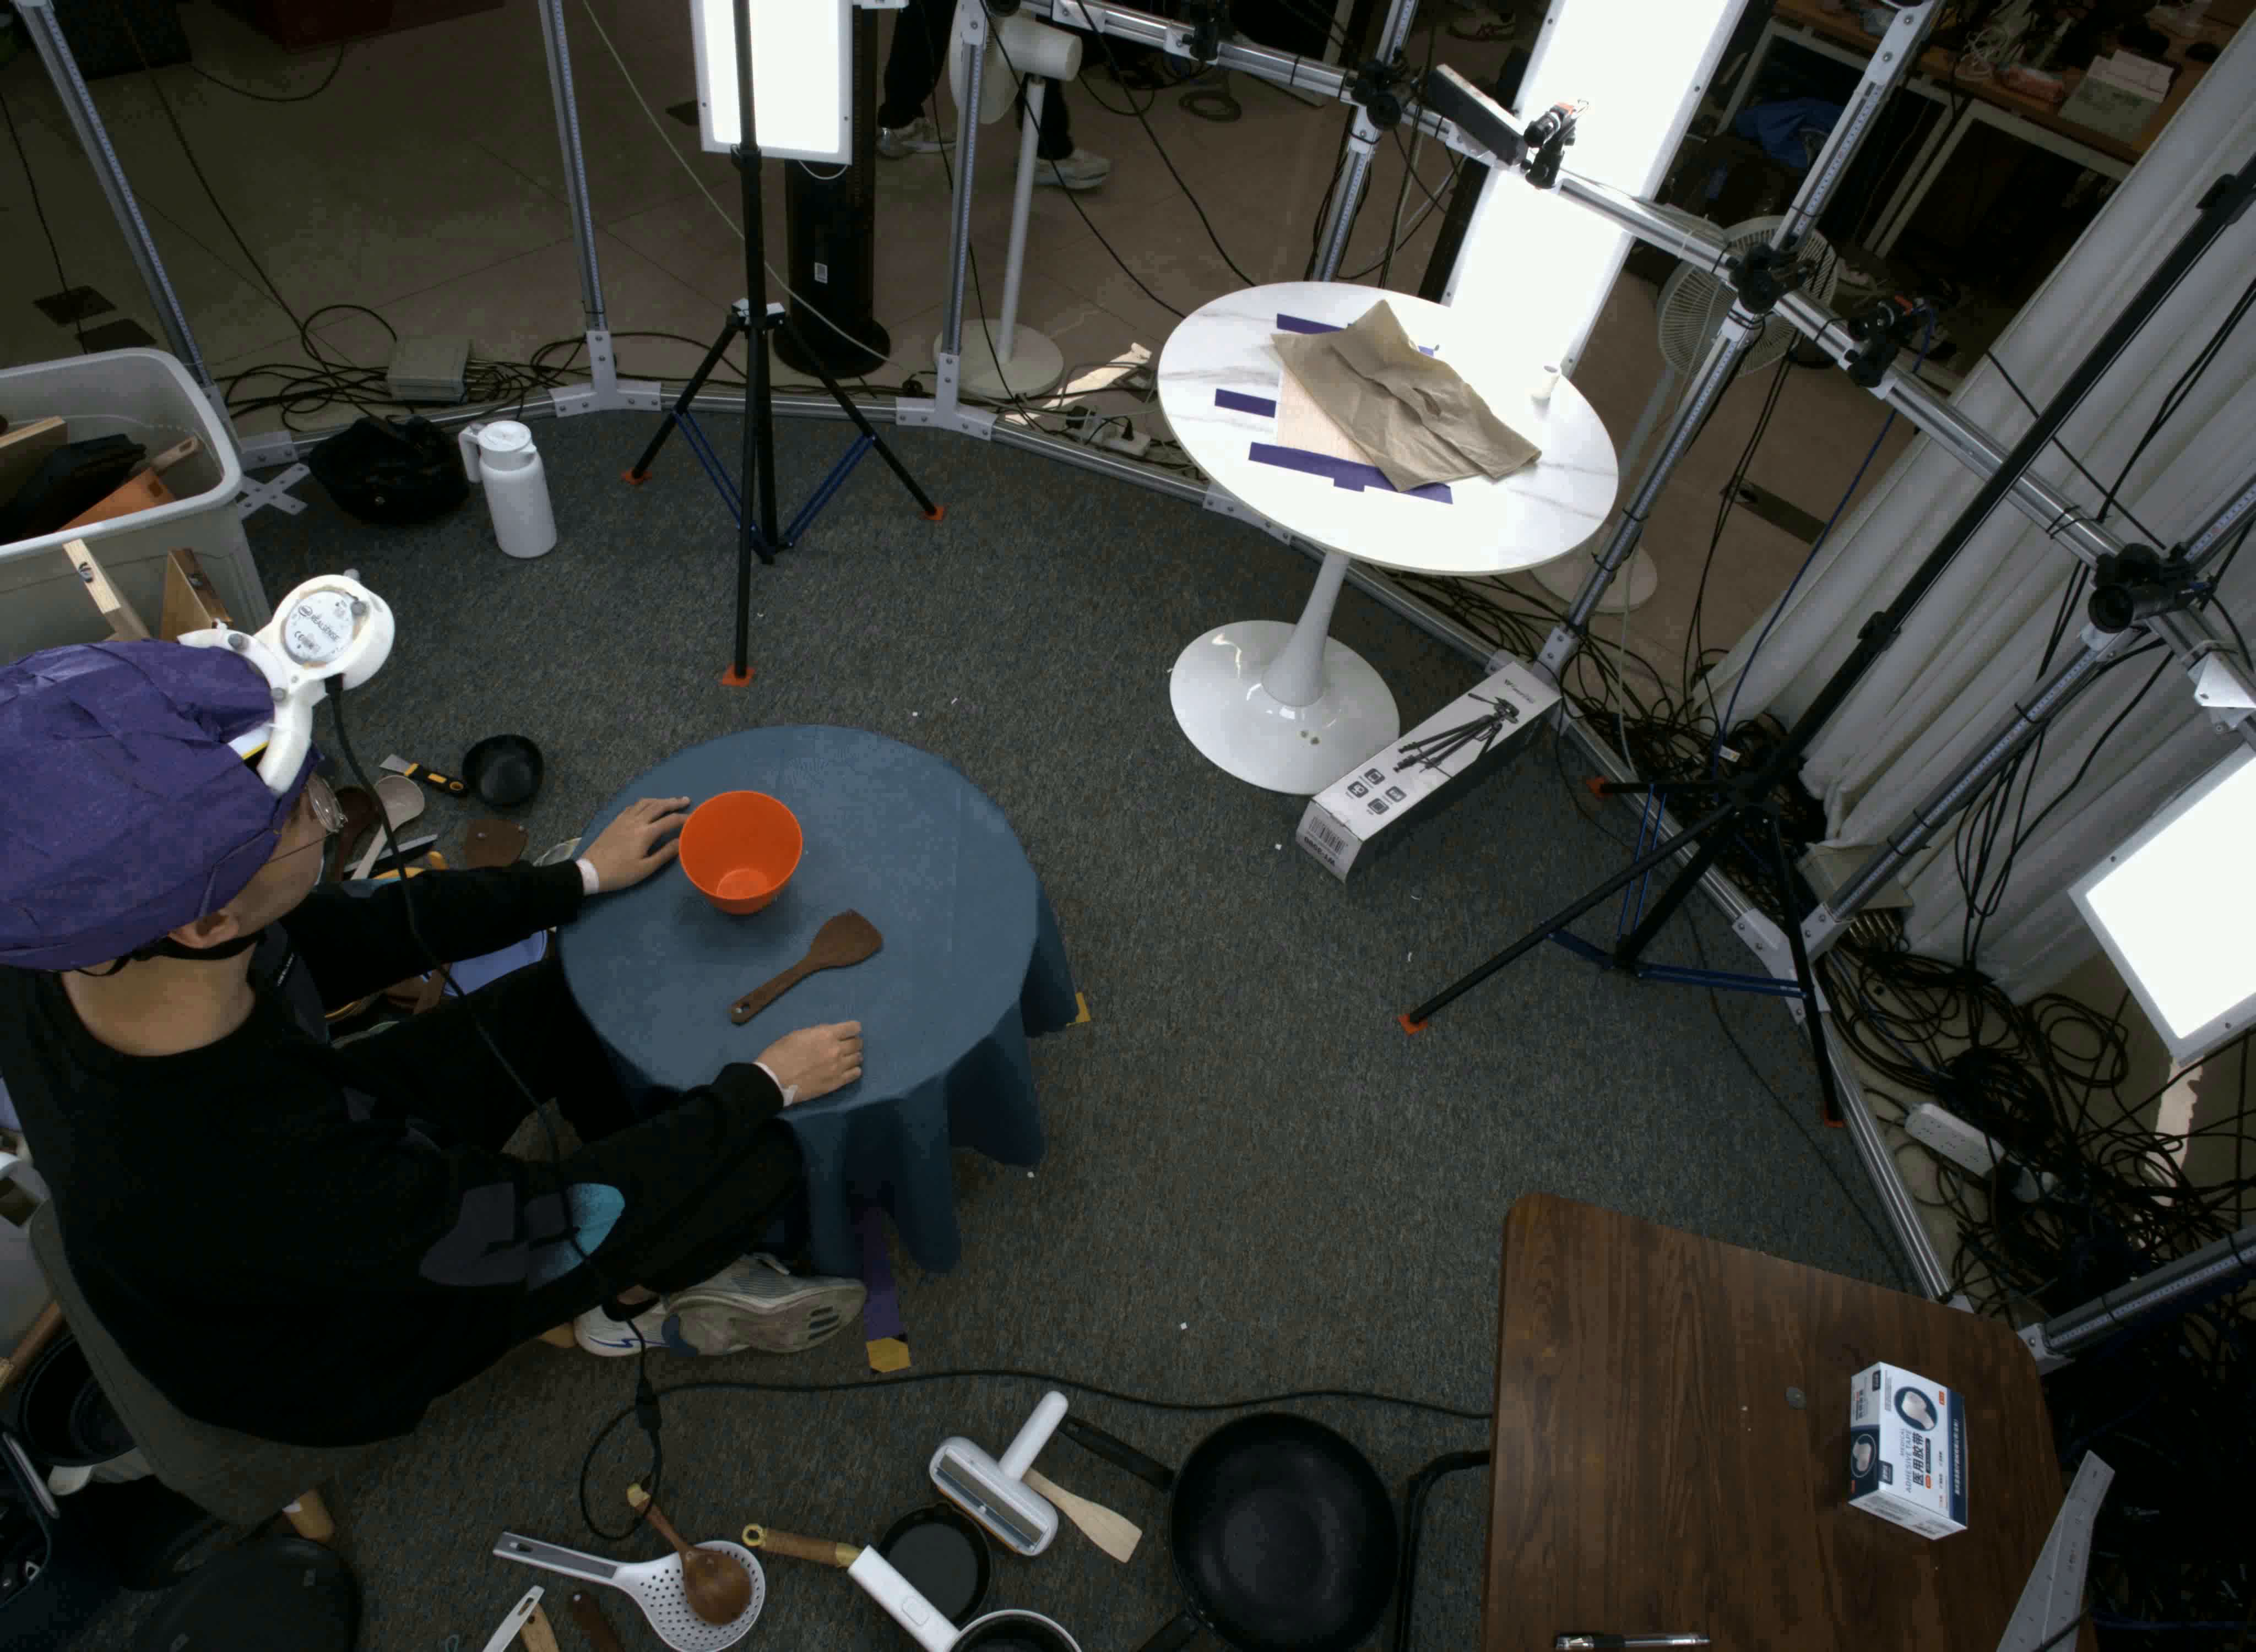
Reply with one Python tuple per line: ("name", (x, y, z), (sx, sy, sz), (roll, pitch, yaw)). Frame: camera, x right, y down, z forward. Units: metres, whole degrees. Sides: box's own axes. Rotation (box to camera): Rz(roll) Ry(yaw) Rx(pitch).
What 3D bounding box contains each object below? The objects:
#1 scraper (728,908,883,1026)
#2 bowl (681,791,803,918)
("scraper", (-0.401, 0.176, 1.599), (0.074, 0.011, 0.212), (41, 56, 19))
("bowl", (-0.480, 0.046, 1.617), (0.148, 0.107, 0.145), (7, 54, -8))
